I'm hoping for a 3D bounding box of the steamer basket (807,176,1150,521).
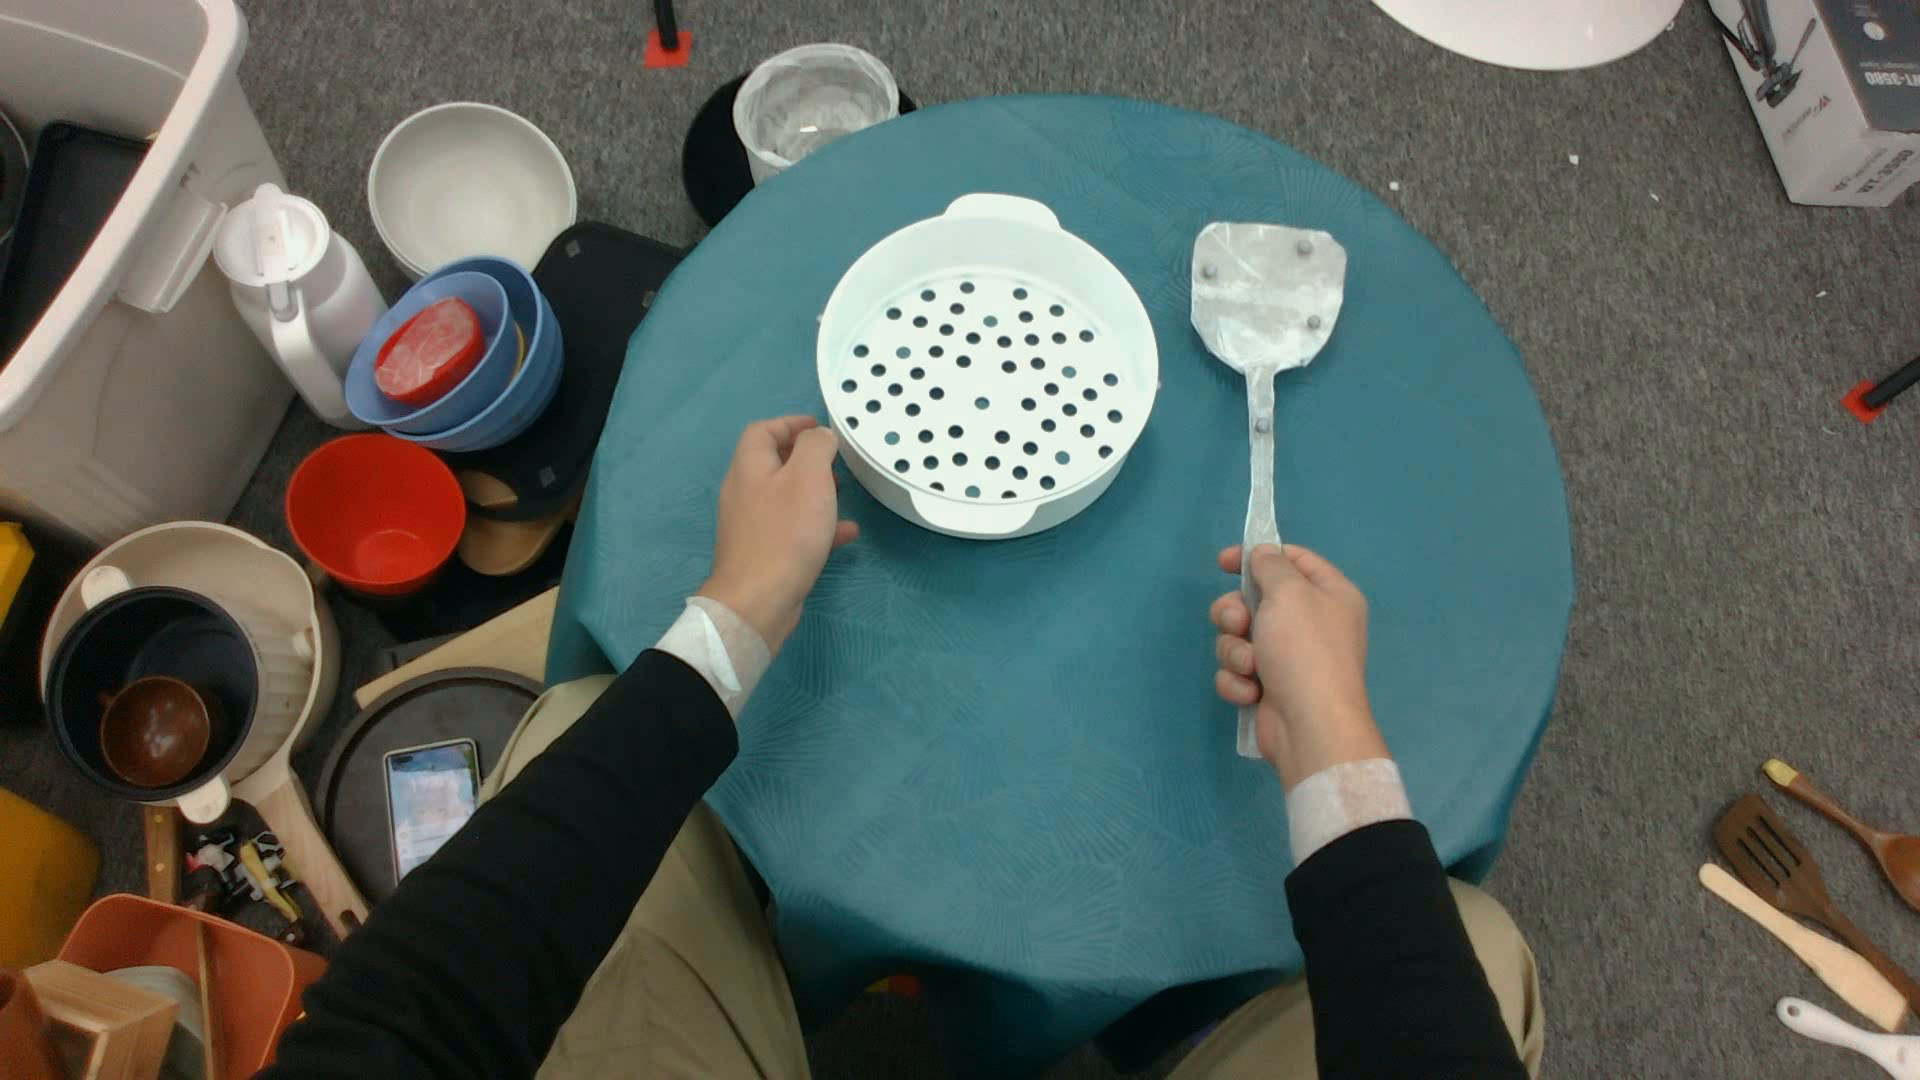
[{"bbox_3d":[0.010,-0.109,0.834,0.202,0.069,0.231,7,67,0],"label":"steamer basket"}]

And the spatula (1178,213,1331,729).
[{"bbox_3d":[0.168,-0.056,0.809,0.099,0.044,0.366,10,53,1],"label":"spatula"}]
